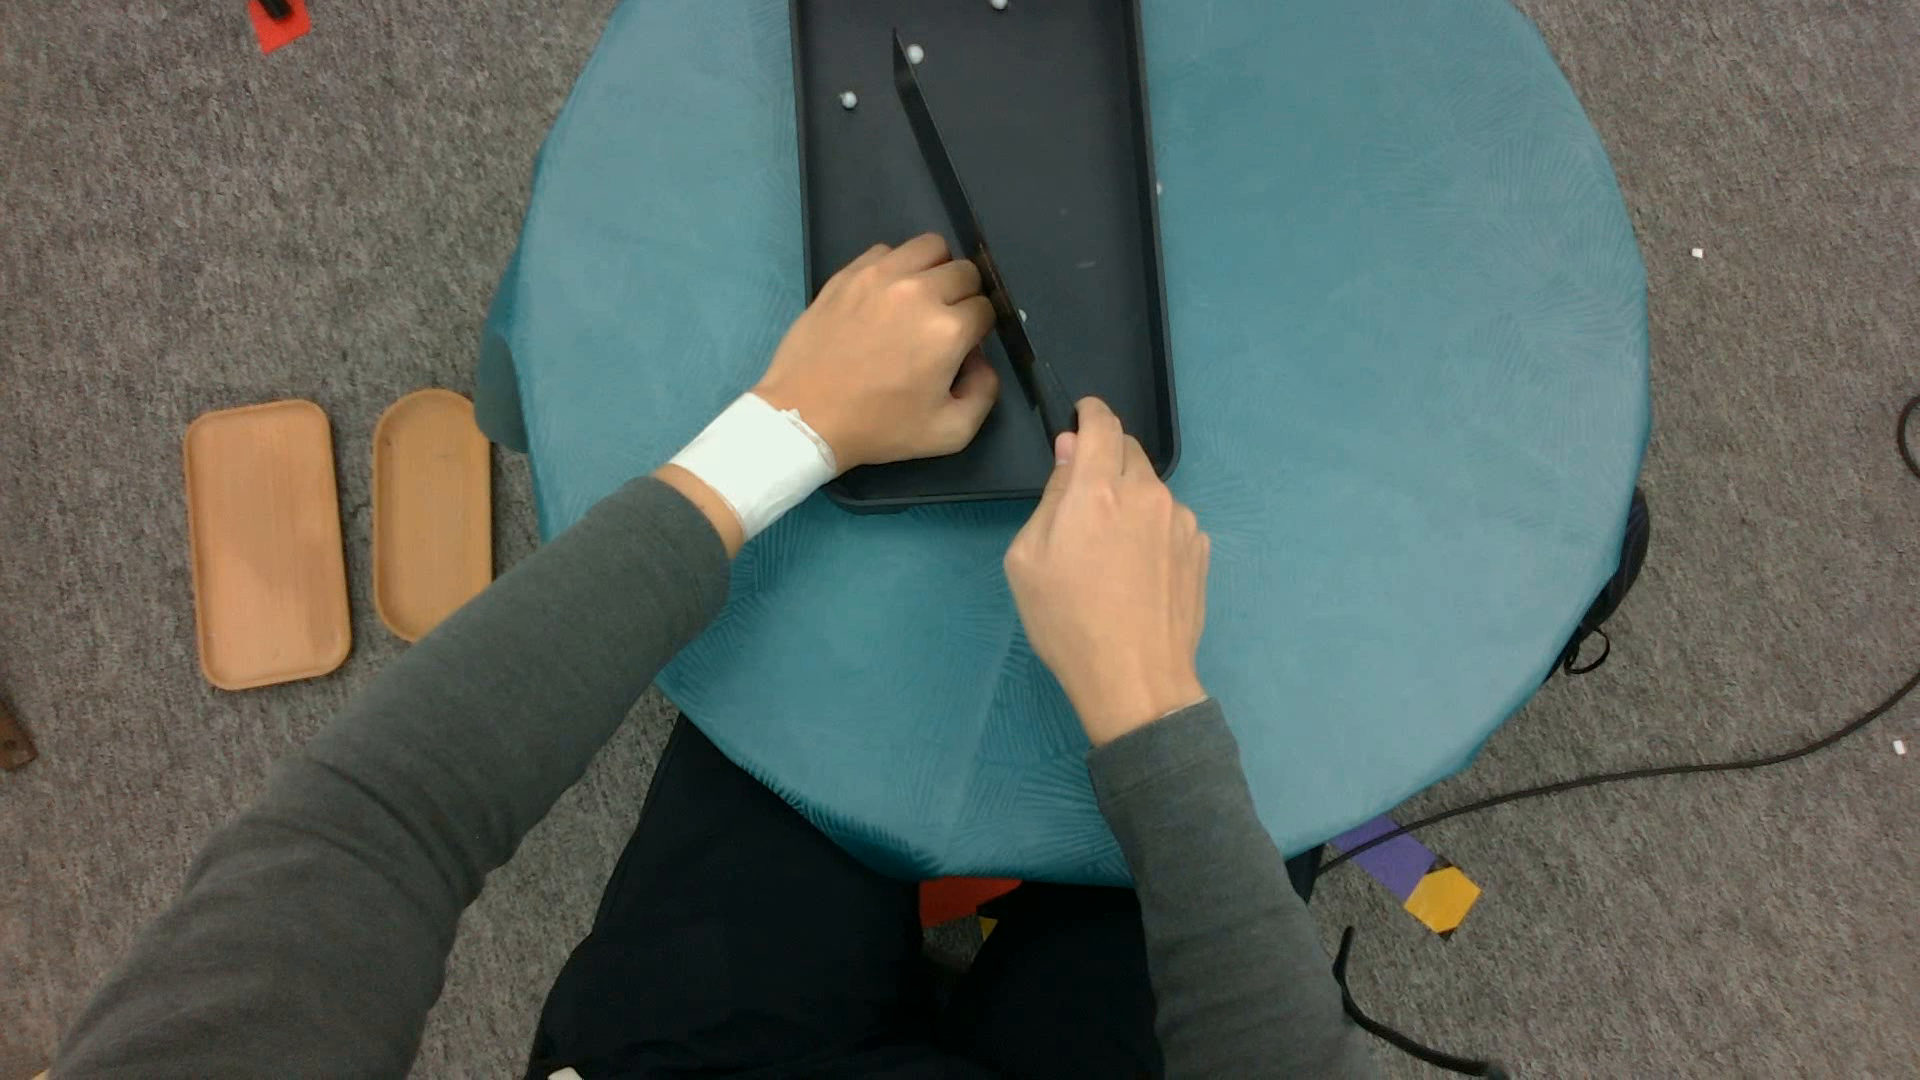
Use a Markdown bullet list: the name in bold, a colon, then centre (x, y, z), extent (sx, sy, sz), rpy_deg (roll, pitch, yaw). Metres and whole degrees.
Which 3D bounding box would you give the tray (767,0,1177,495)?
- **tray**: centre (0.001, -0.184, 0.714), extent (0.184, 0.037, 0.318), rpy_deg (-5, 79, -5)

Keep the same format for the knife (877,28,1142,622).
- **knife**: centre (0.018, -0.102, 0.656), extent (0.021, 0.081, 0.302), rpy_deg (-22, 79, -5)
